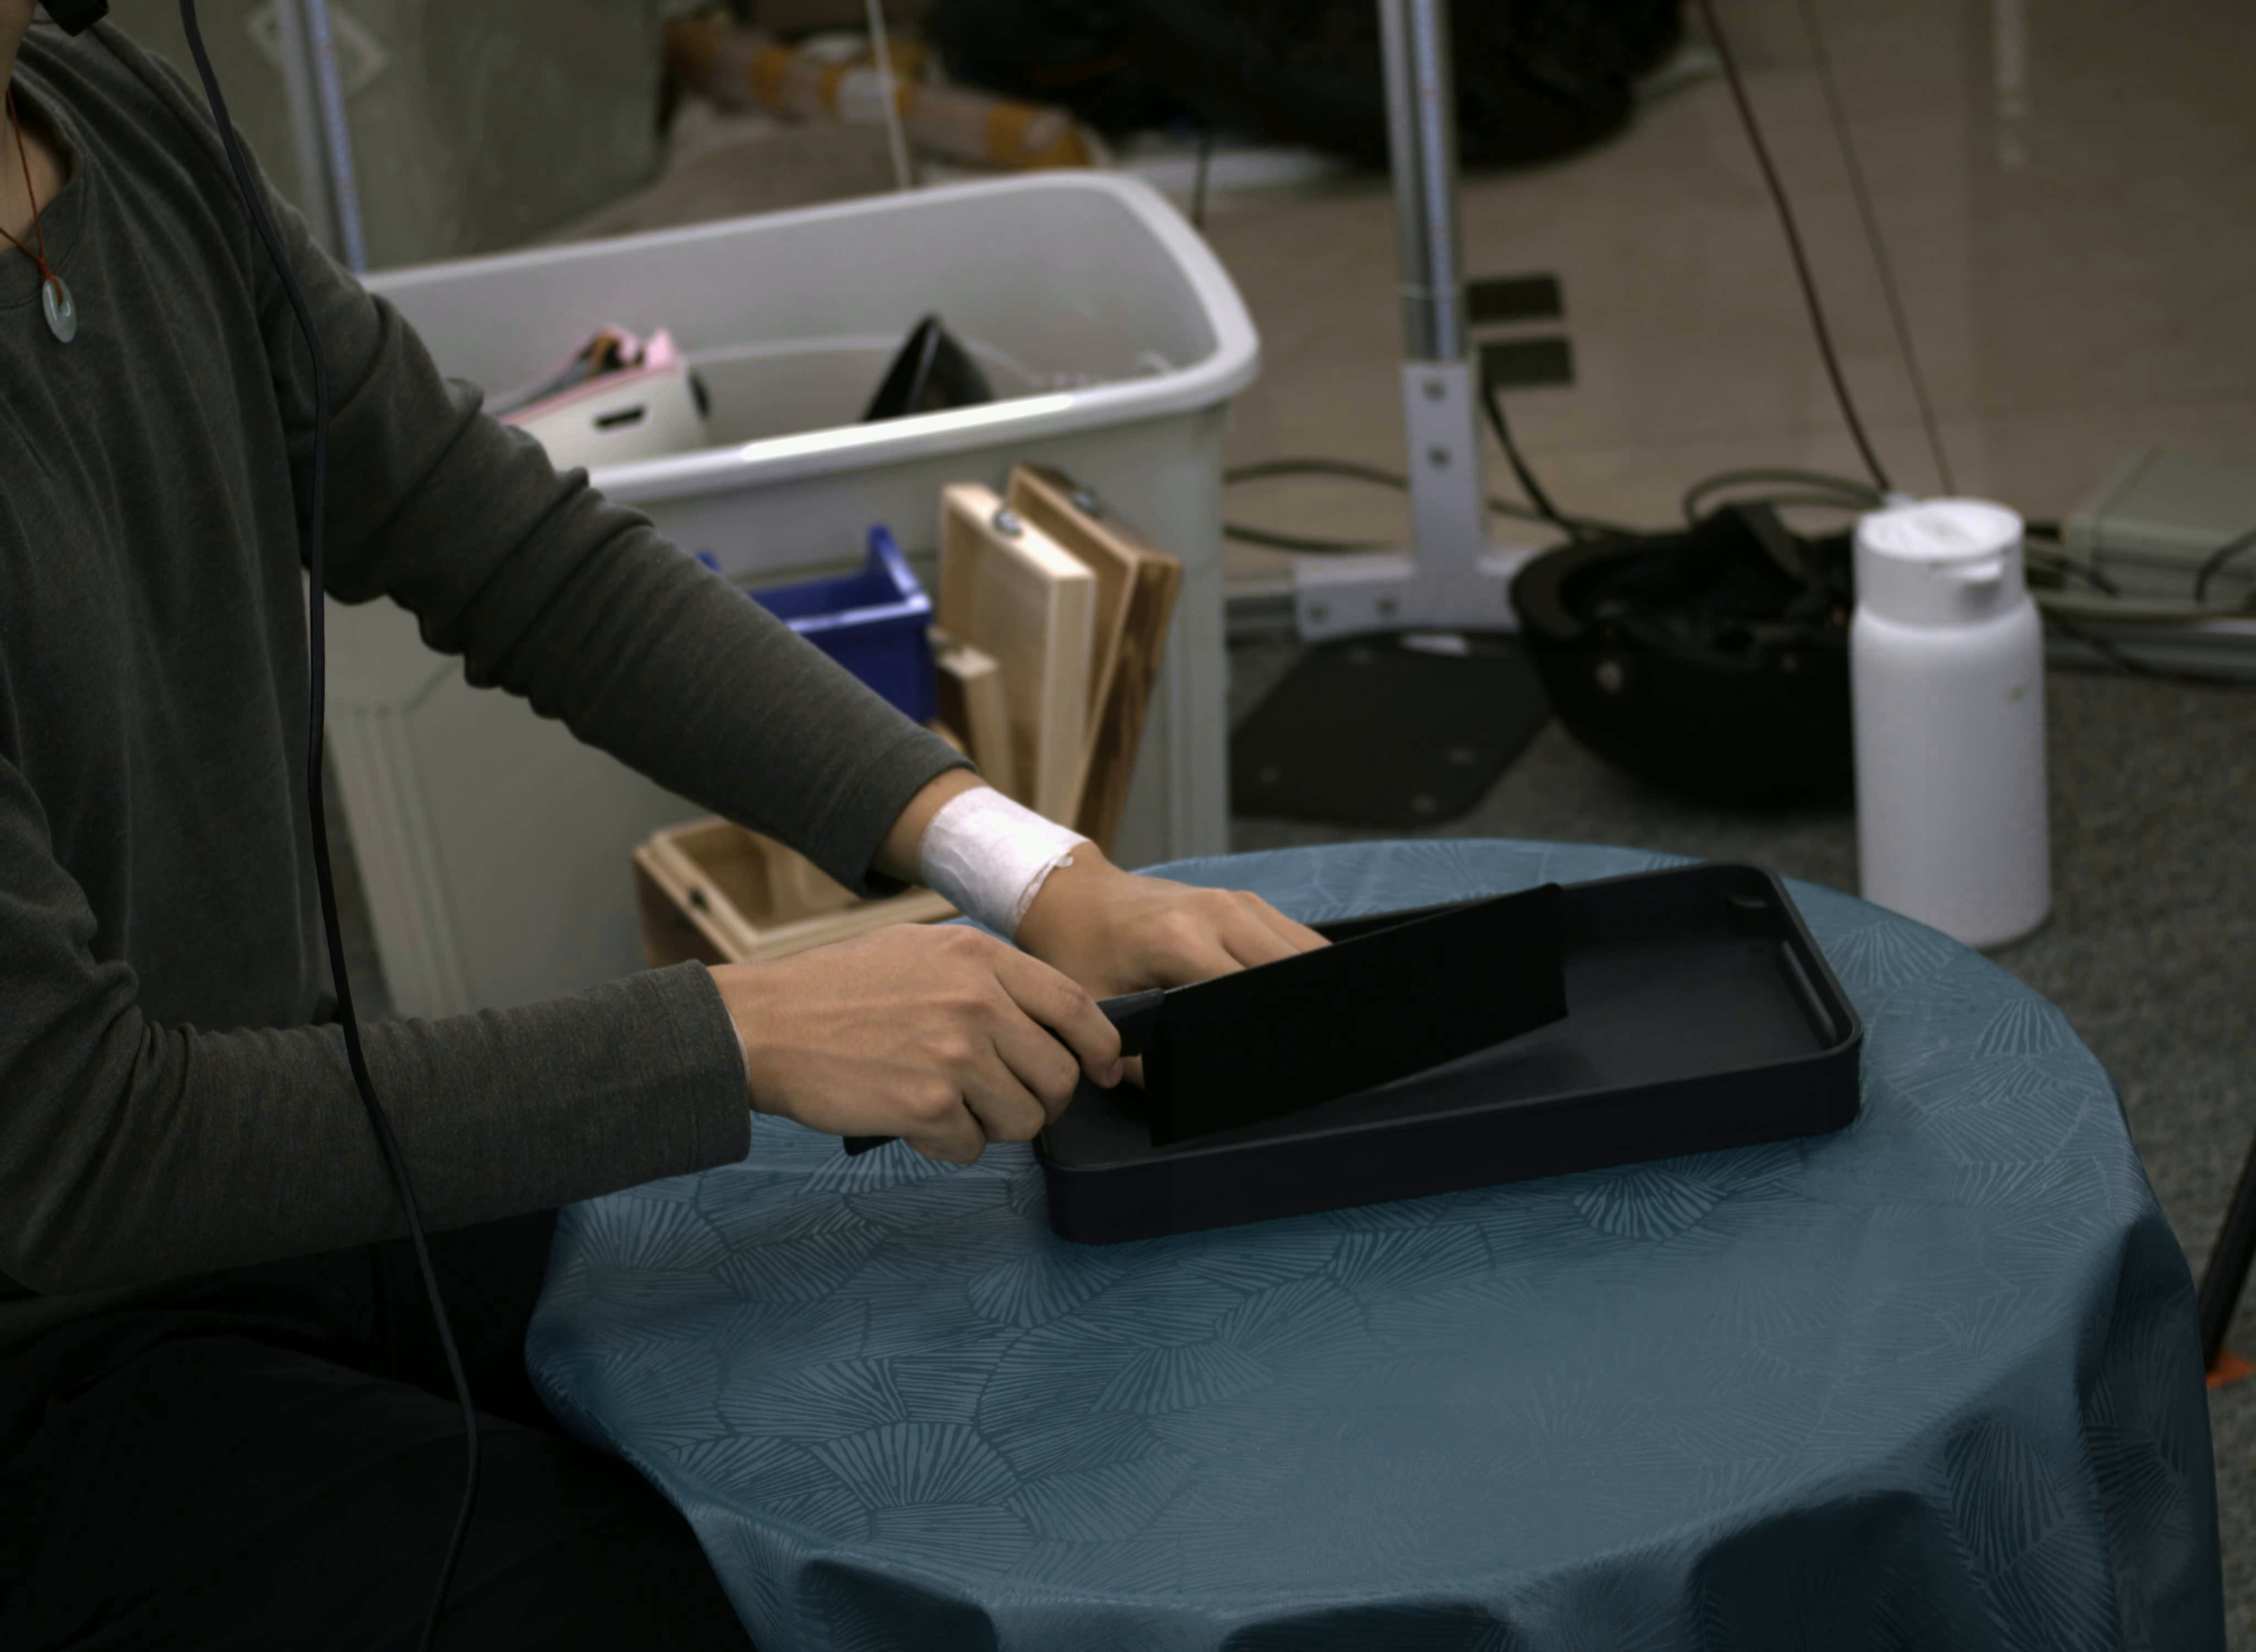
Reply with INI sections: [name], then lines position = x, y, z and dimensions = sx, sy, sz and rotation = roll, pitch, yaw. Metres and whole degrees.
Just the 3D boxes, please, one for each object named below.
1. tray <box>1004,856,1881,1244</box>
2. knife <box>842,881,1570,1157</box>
[tray]
position = 0.119, 0.084, 2.196
dimensions = 0.317, 0.037, 0.181
rotation = -9, 25, -6
[knife]
position = 0.033, 0.083, 2.158
dimensions = 0.301, 0.082, 0.020
rotation = -11, 27, -20
